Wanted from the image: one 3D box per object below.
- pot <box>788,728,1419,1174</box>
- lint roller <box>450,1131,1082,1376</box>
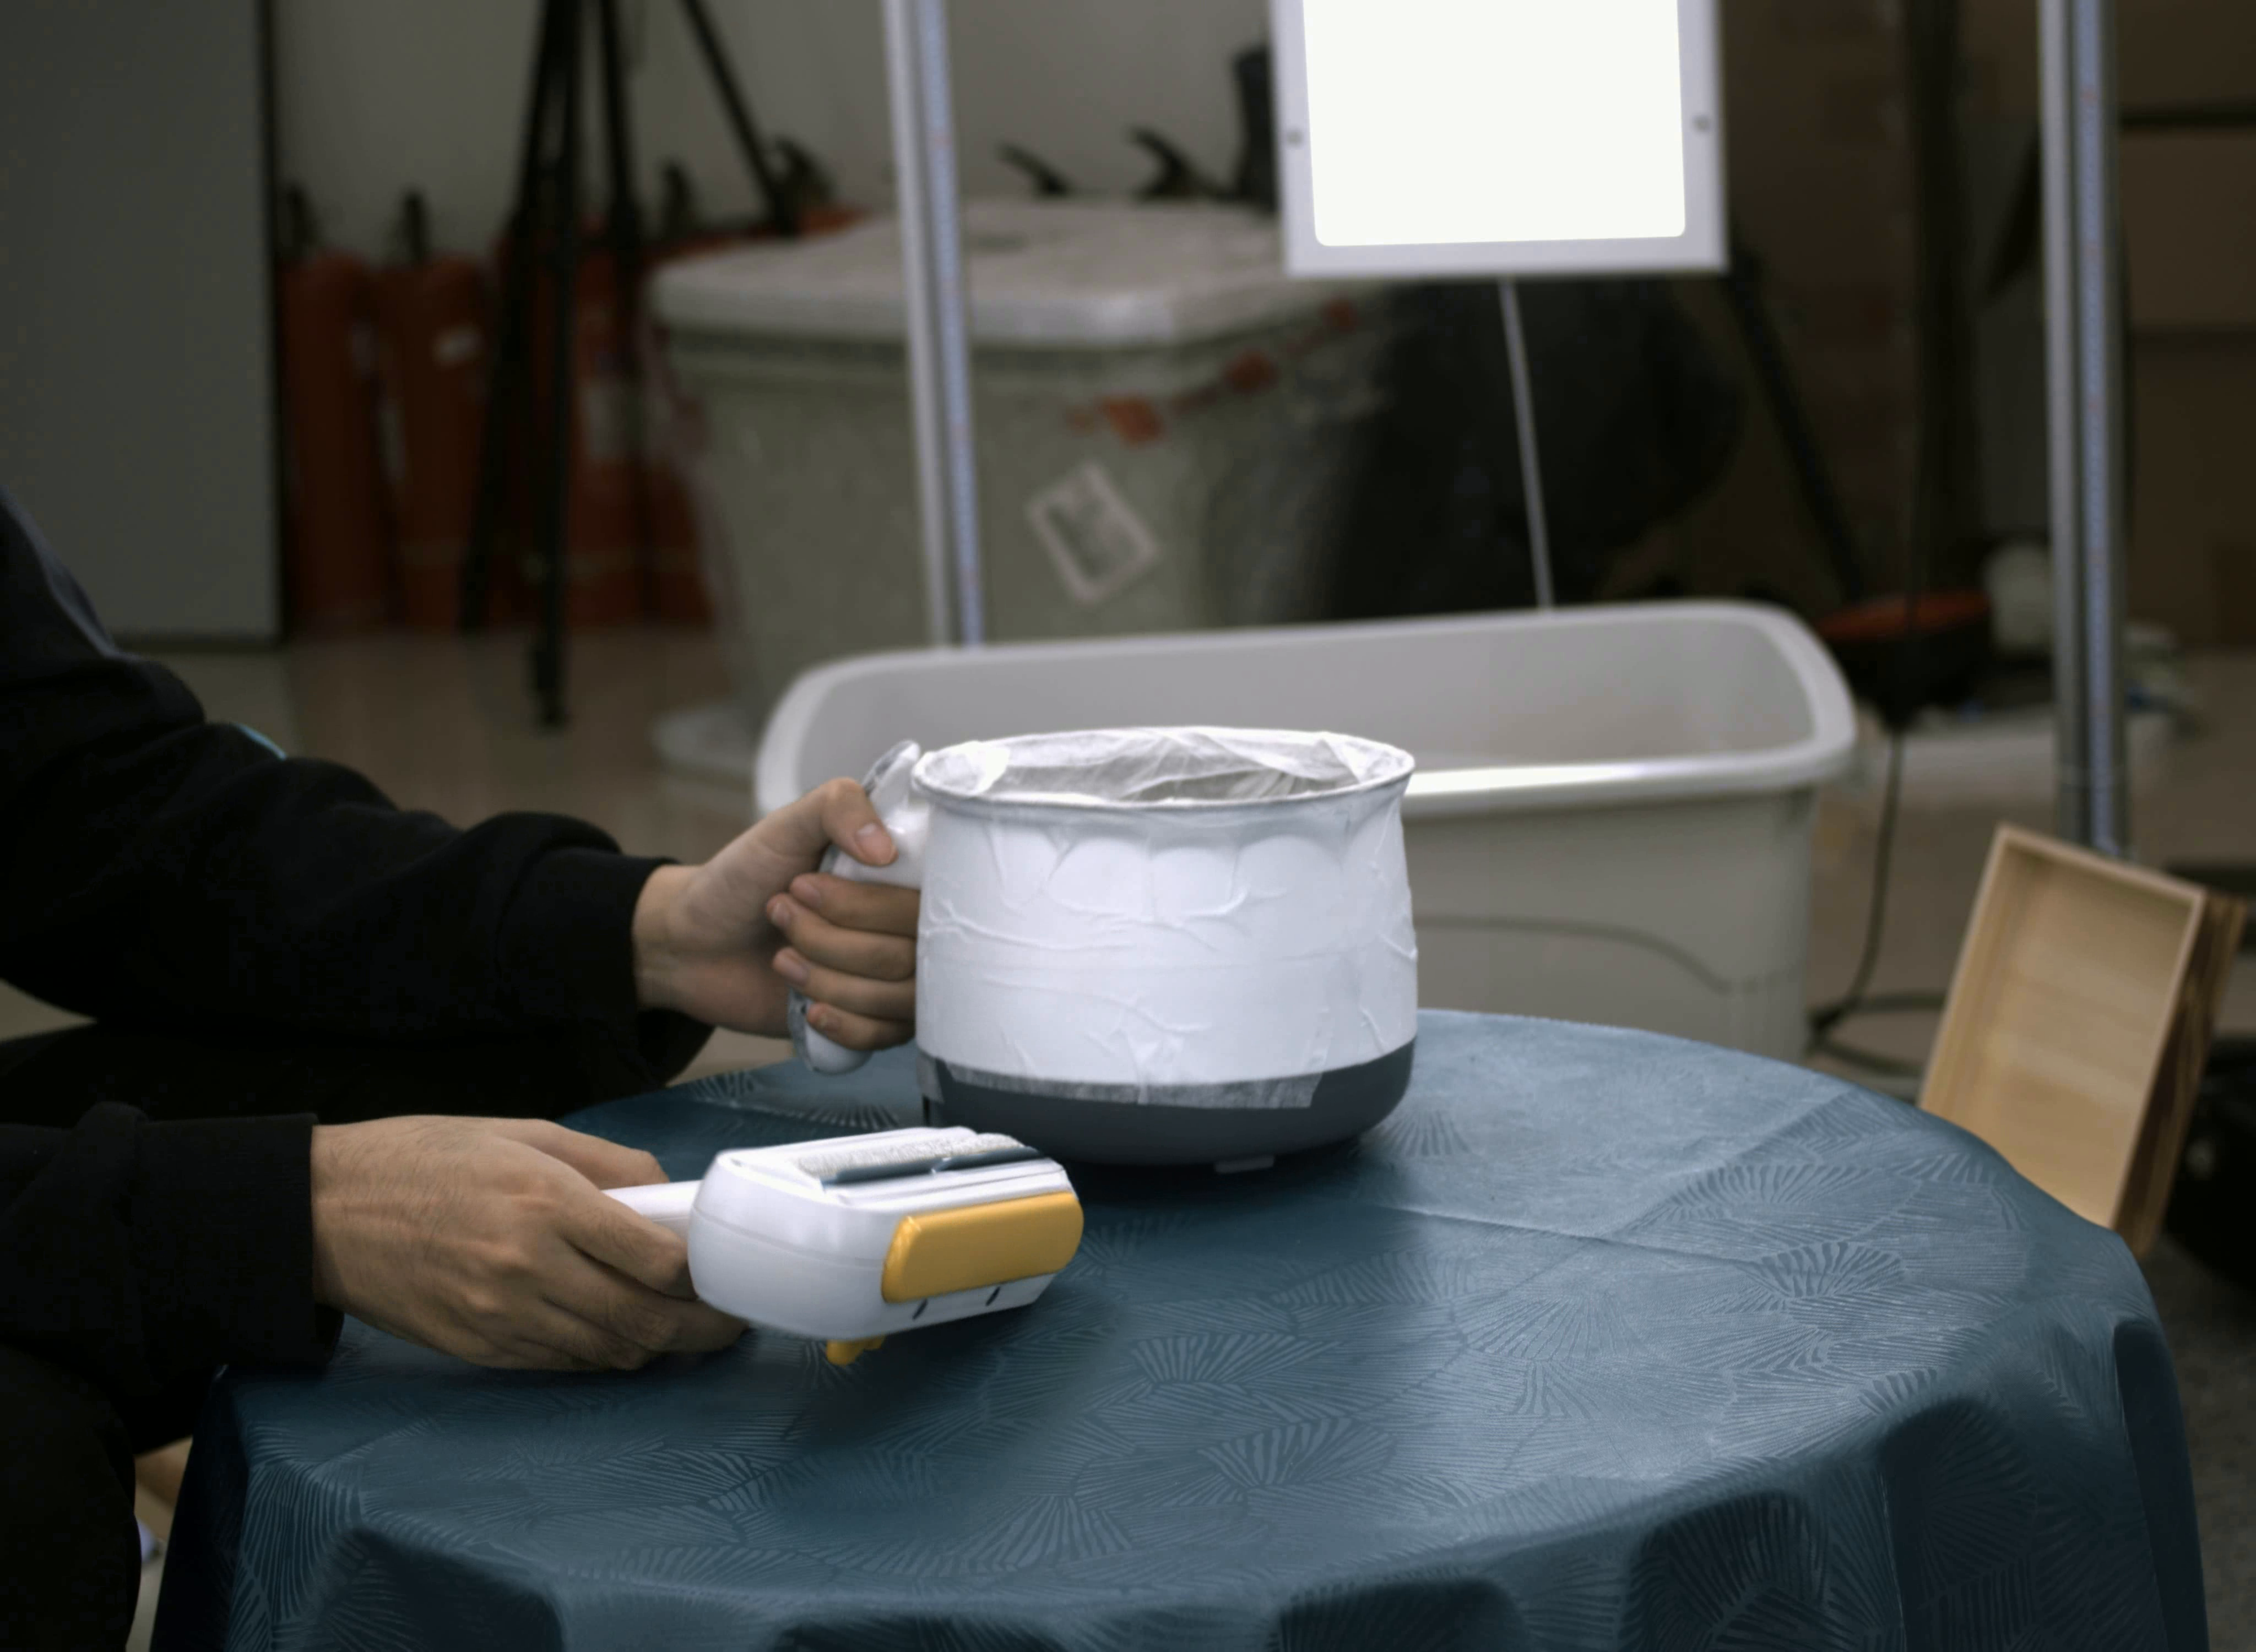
[{"bbox_3d":[-0.012,0.040,1.939,0.237,0.137,0.175,3,9,23],"label":"pot"},{"bbox_3d":[-0.130,0.128,1.754,0.195,0.074,0.189,8,9,27],"label":"lint roller"}]
